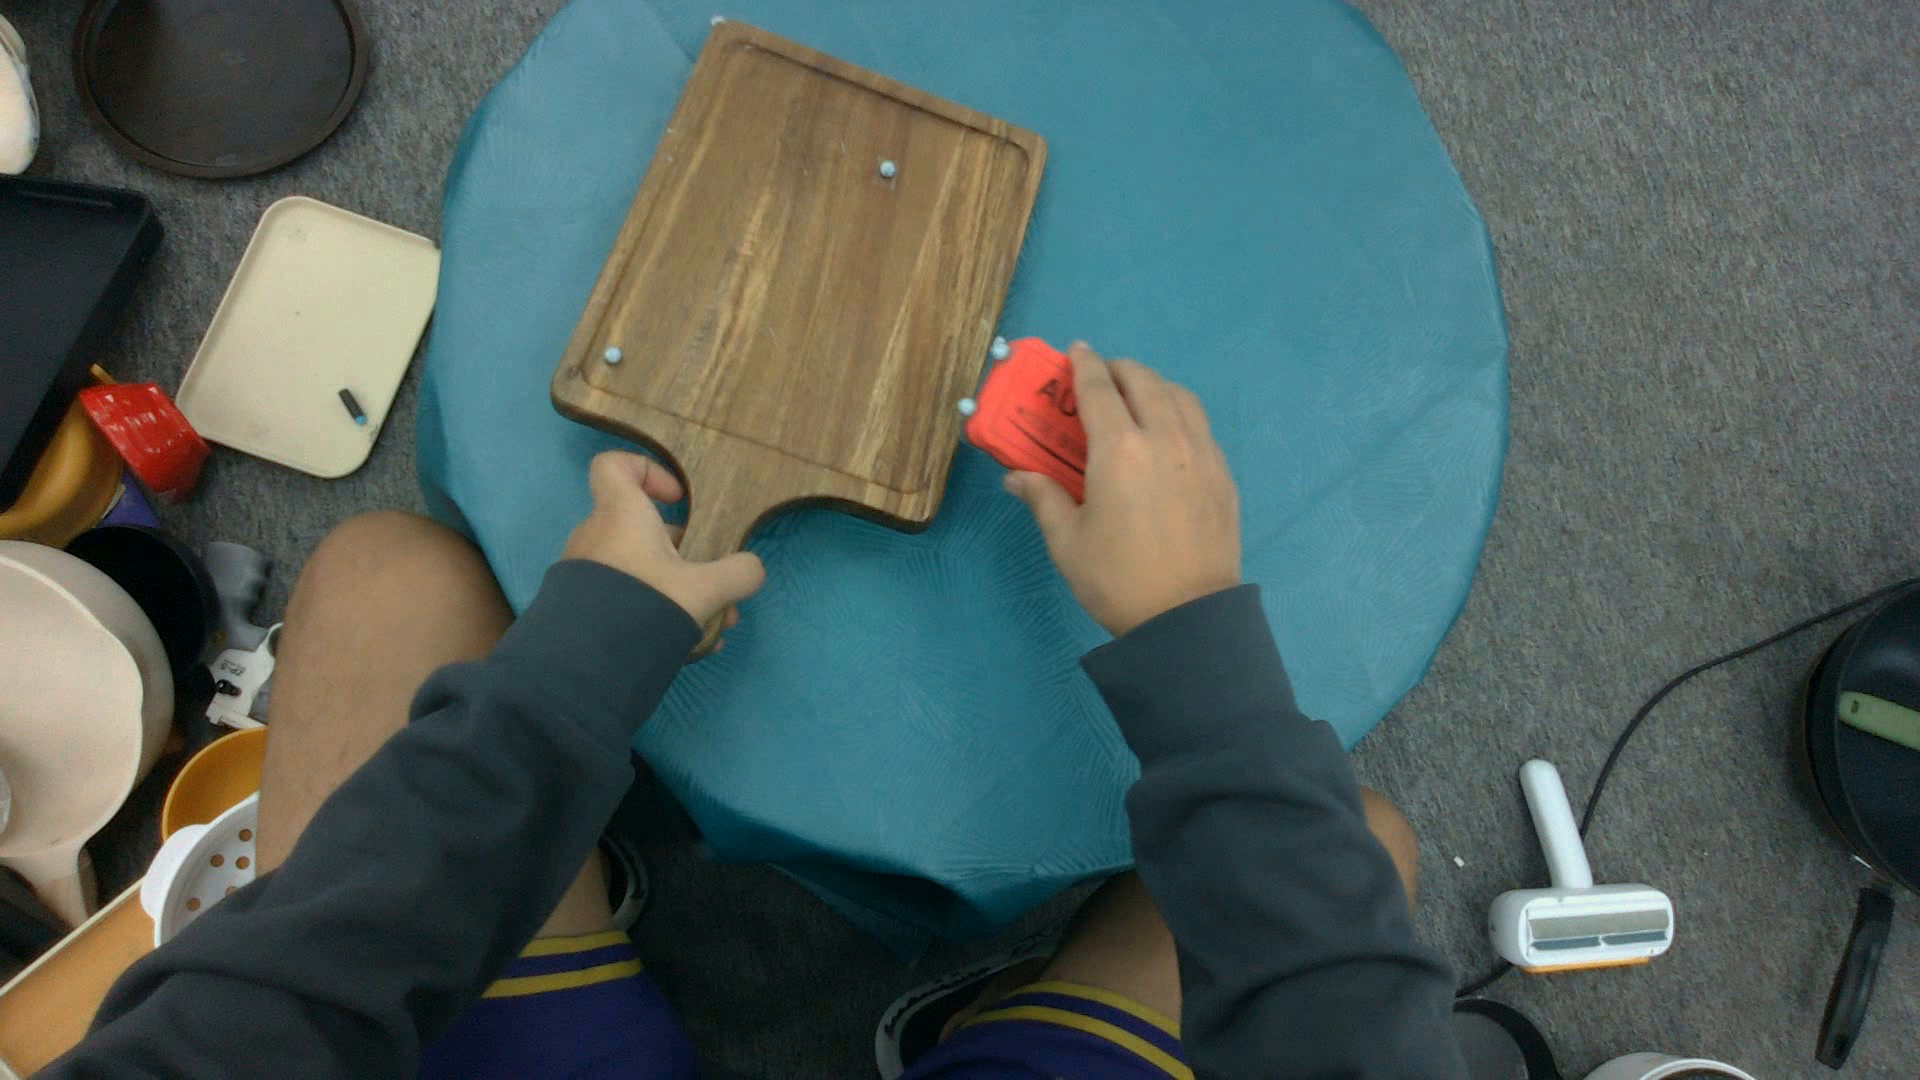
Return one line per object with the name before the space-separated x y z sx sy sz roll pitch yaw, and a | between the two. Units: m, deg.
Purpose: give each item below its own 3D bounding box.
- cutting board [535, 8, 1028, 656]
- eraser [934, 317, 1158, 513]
cutting board | -0.094 -0.107 0.696 0.201 0.023 0.353 18 66 -6
eraser | 0.043 -0.058 0.657 0.108 0.023 0.059 29 79 -28
